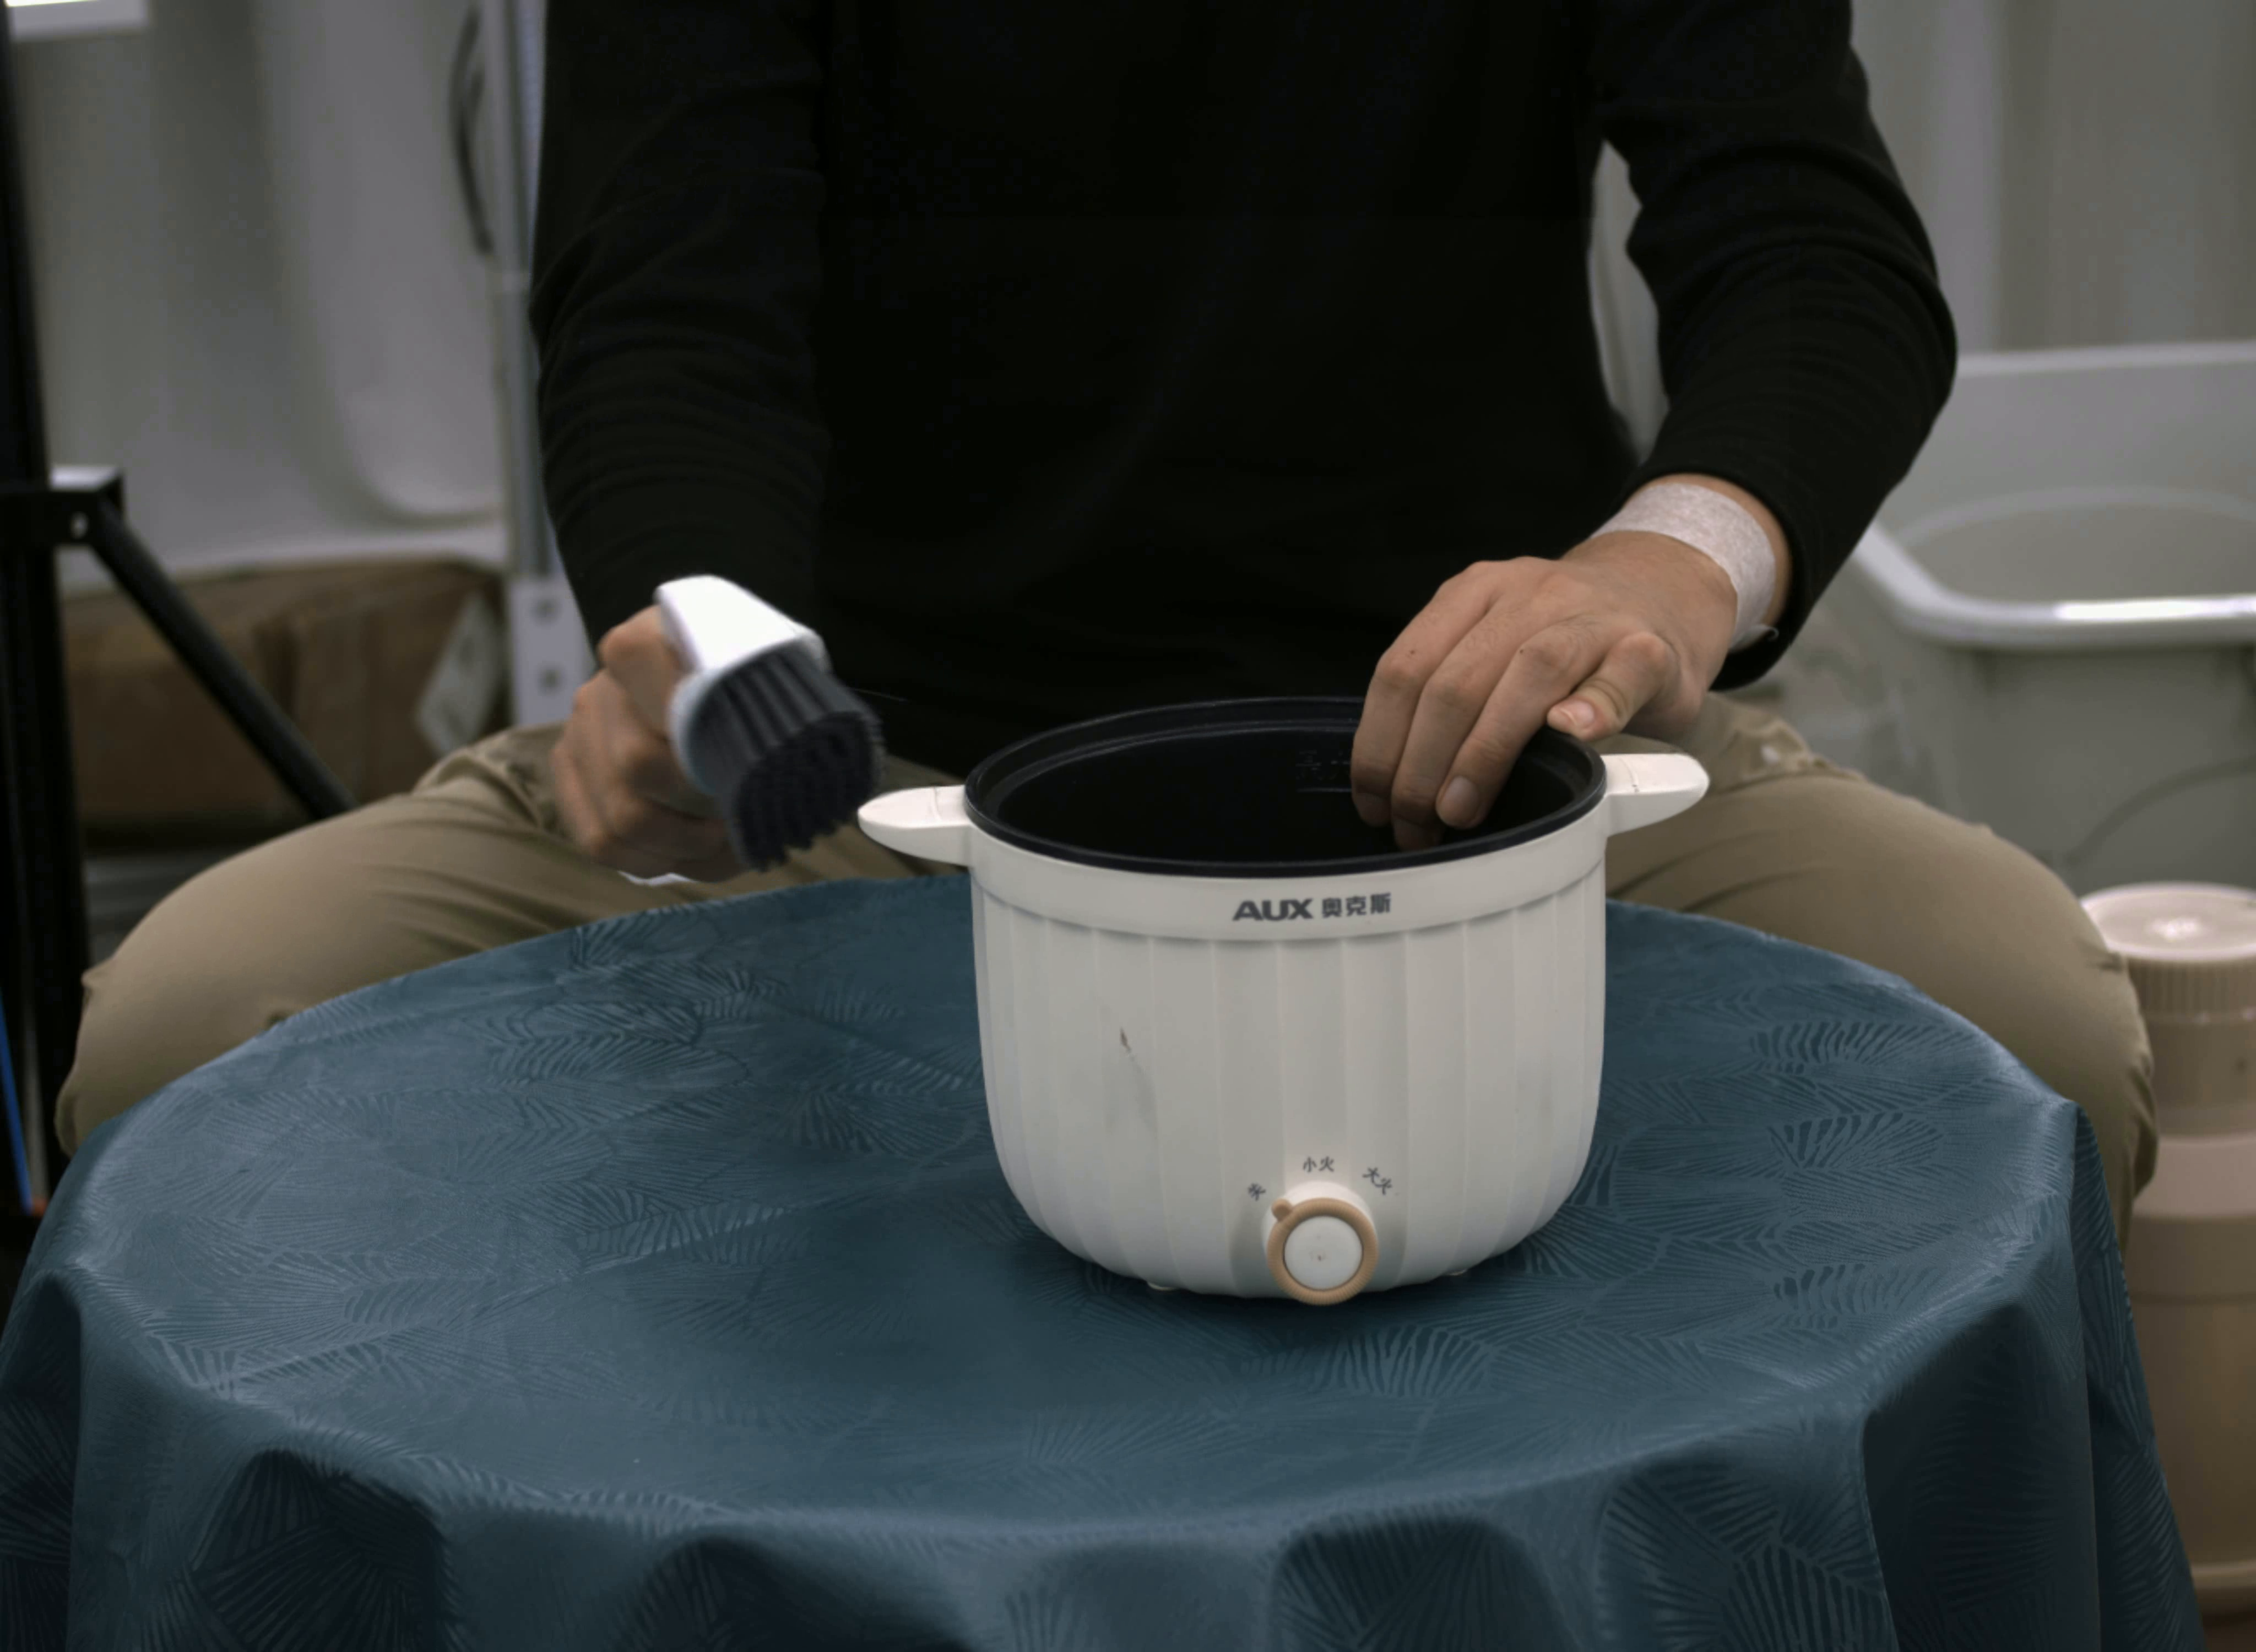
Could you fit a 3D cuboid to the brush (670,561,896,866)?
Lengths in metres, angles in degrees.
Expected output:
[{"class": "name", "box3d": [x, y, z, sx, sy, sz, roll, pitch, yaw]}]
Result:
[{"class": "brush", "box3d": [-0.107, -0.038, 1.547, 0.050, 0.073, 0.098, -31, -19, -10]}]

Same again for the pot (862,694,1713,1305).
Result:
[{"class": "pot", "box3d": [0.049, 0.051, 1.497, 0.239, 0.143, 0.191, -4, 13, -1]}]
